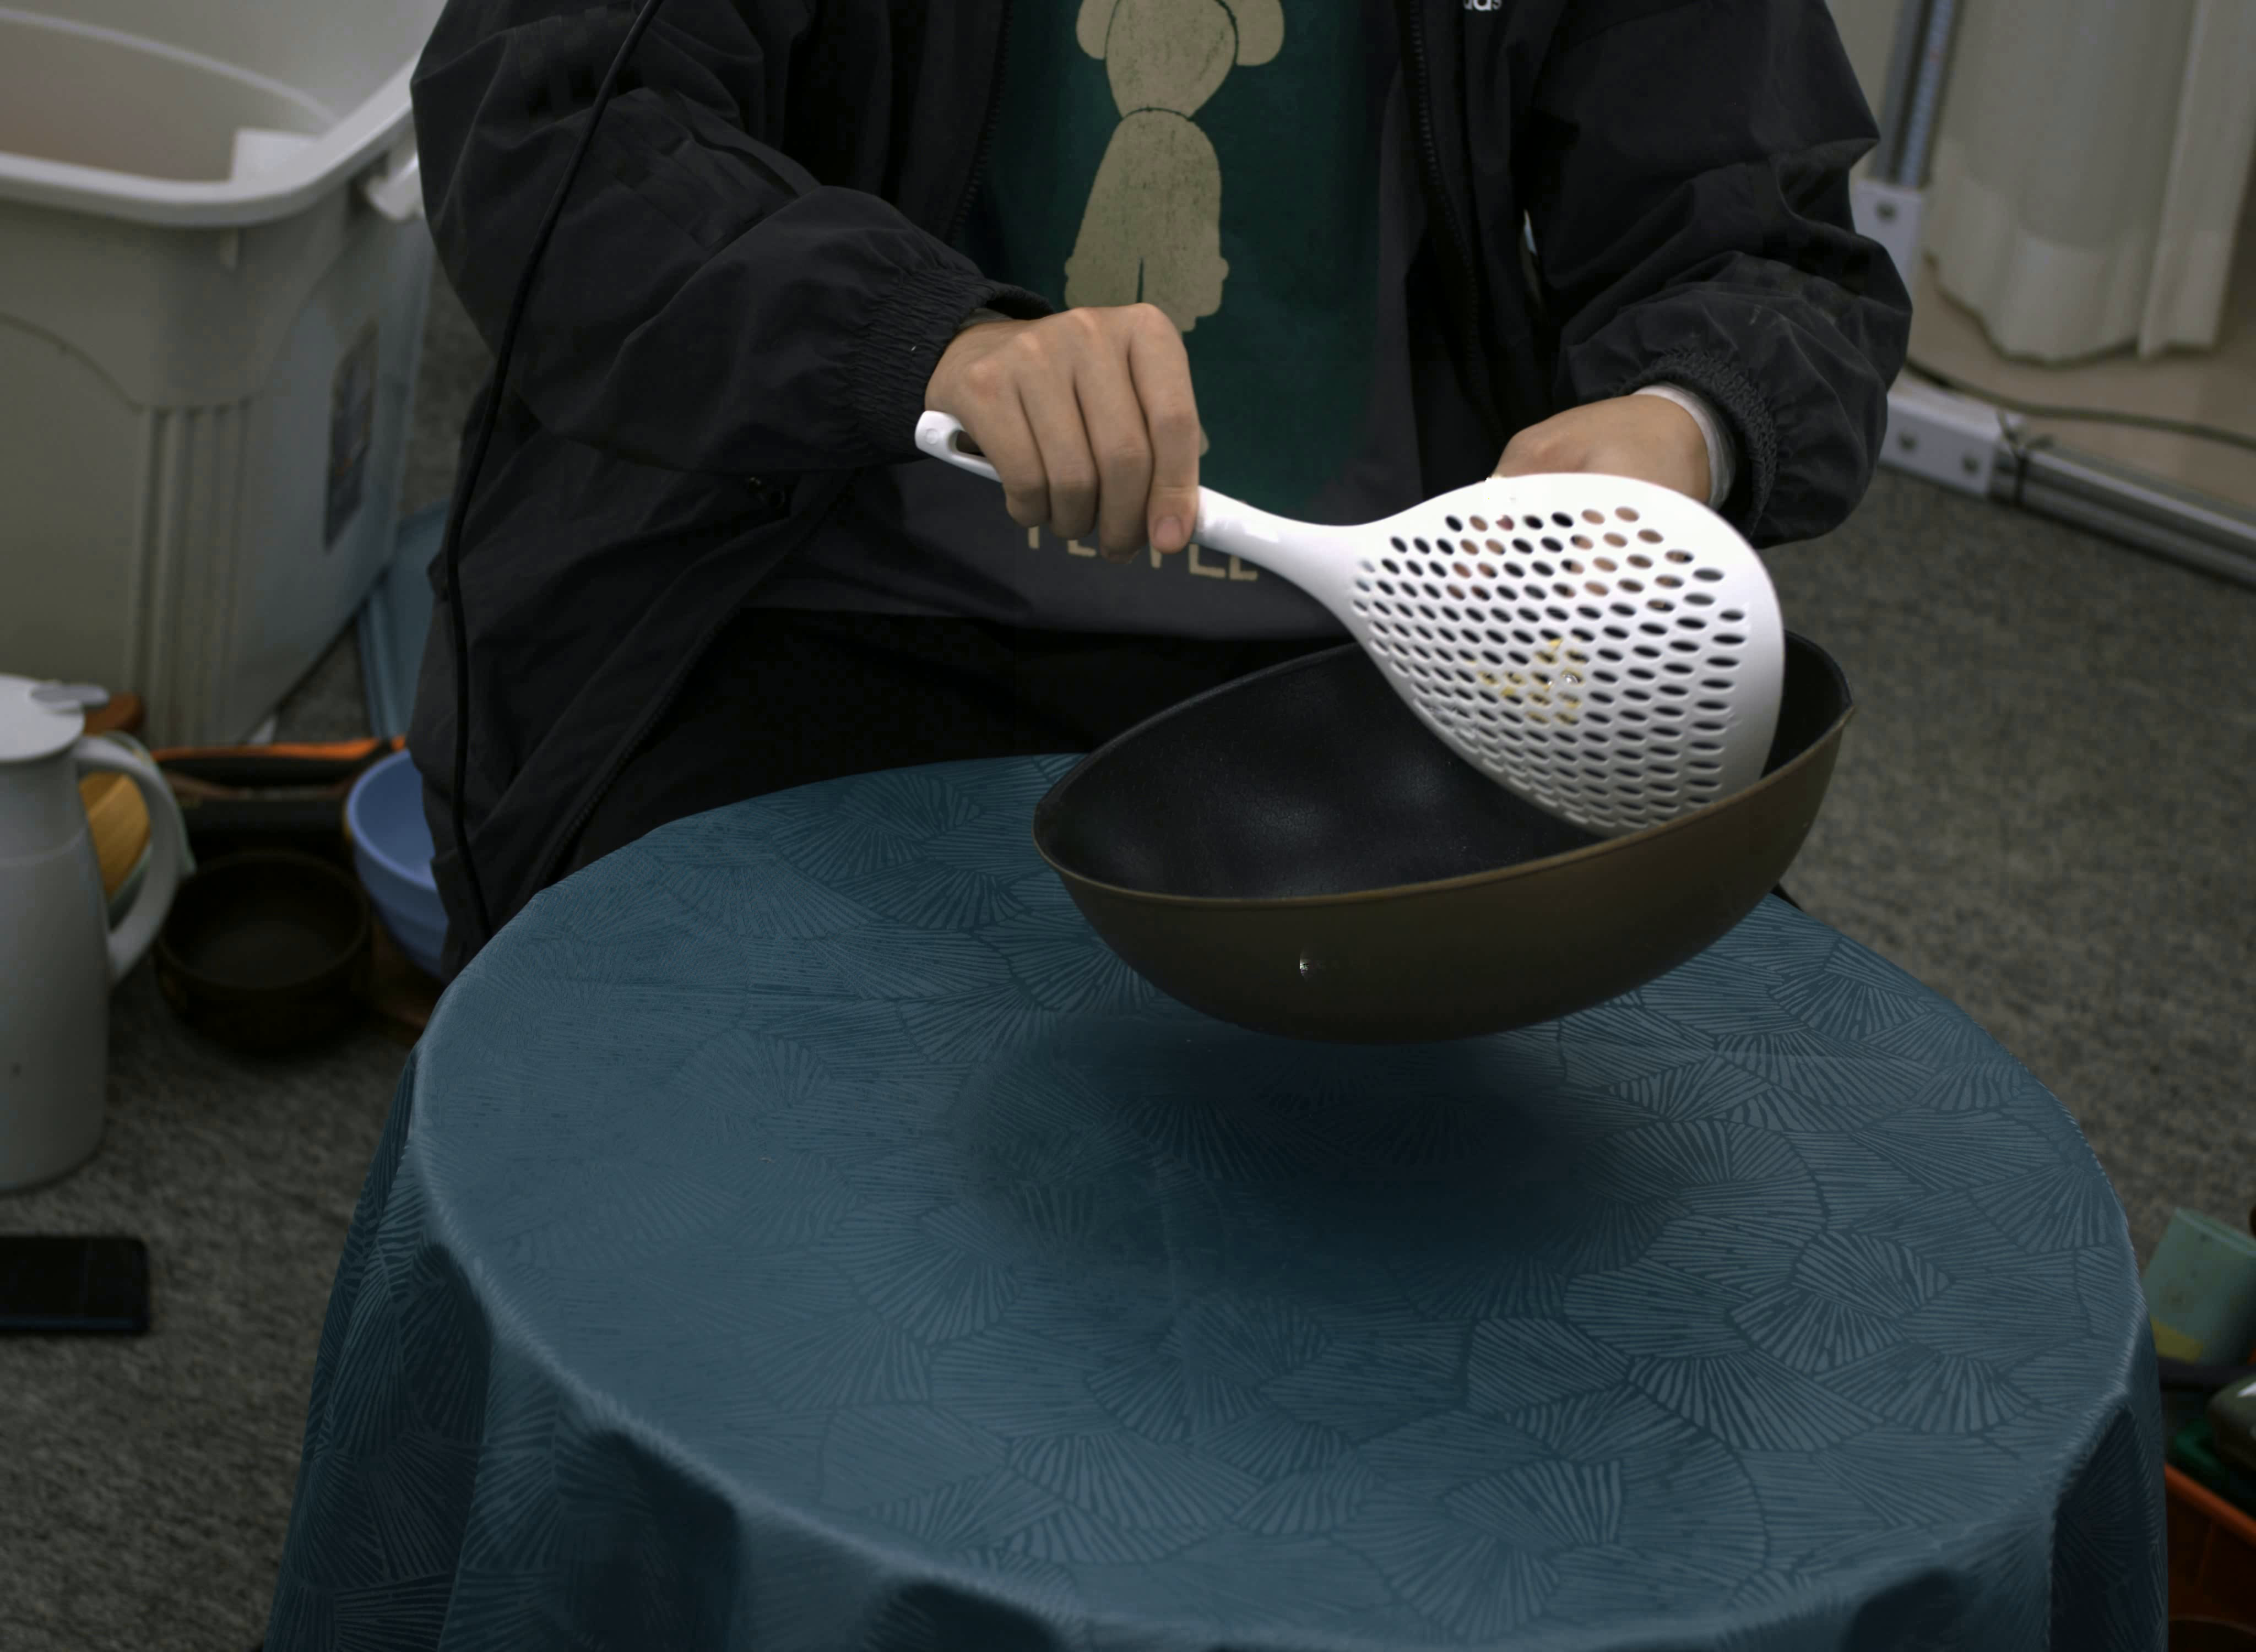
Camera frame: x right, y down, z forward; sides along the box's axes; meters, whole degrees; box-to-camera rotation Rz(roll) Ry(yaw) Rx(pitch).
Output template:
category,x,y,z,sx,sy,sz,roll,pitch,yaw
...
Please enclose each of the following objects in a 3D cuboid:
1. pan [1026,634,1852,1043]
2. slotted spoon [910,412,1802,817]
category,x,y,z,sx,sy,sz,roll,pitch,yaw
pan,0.132,-0.023,1.911,0.288,0.086,0.464,-7,18,16
slotted spoon,0.076,-0.091,1.910,0.350,0.136,0.050,21,28,28
